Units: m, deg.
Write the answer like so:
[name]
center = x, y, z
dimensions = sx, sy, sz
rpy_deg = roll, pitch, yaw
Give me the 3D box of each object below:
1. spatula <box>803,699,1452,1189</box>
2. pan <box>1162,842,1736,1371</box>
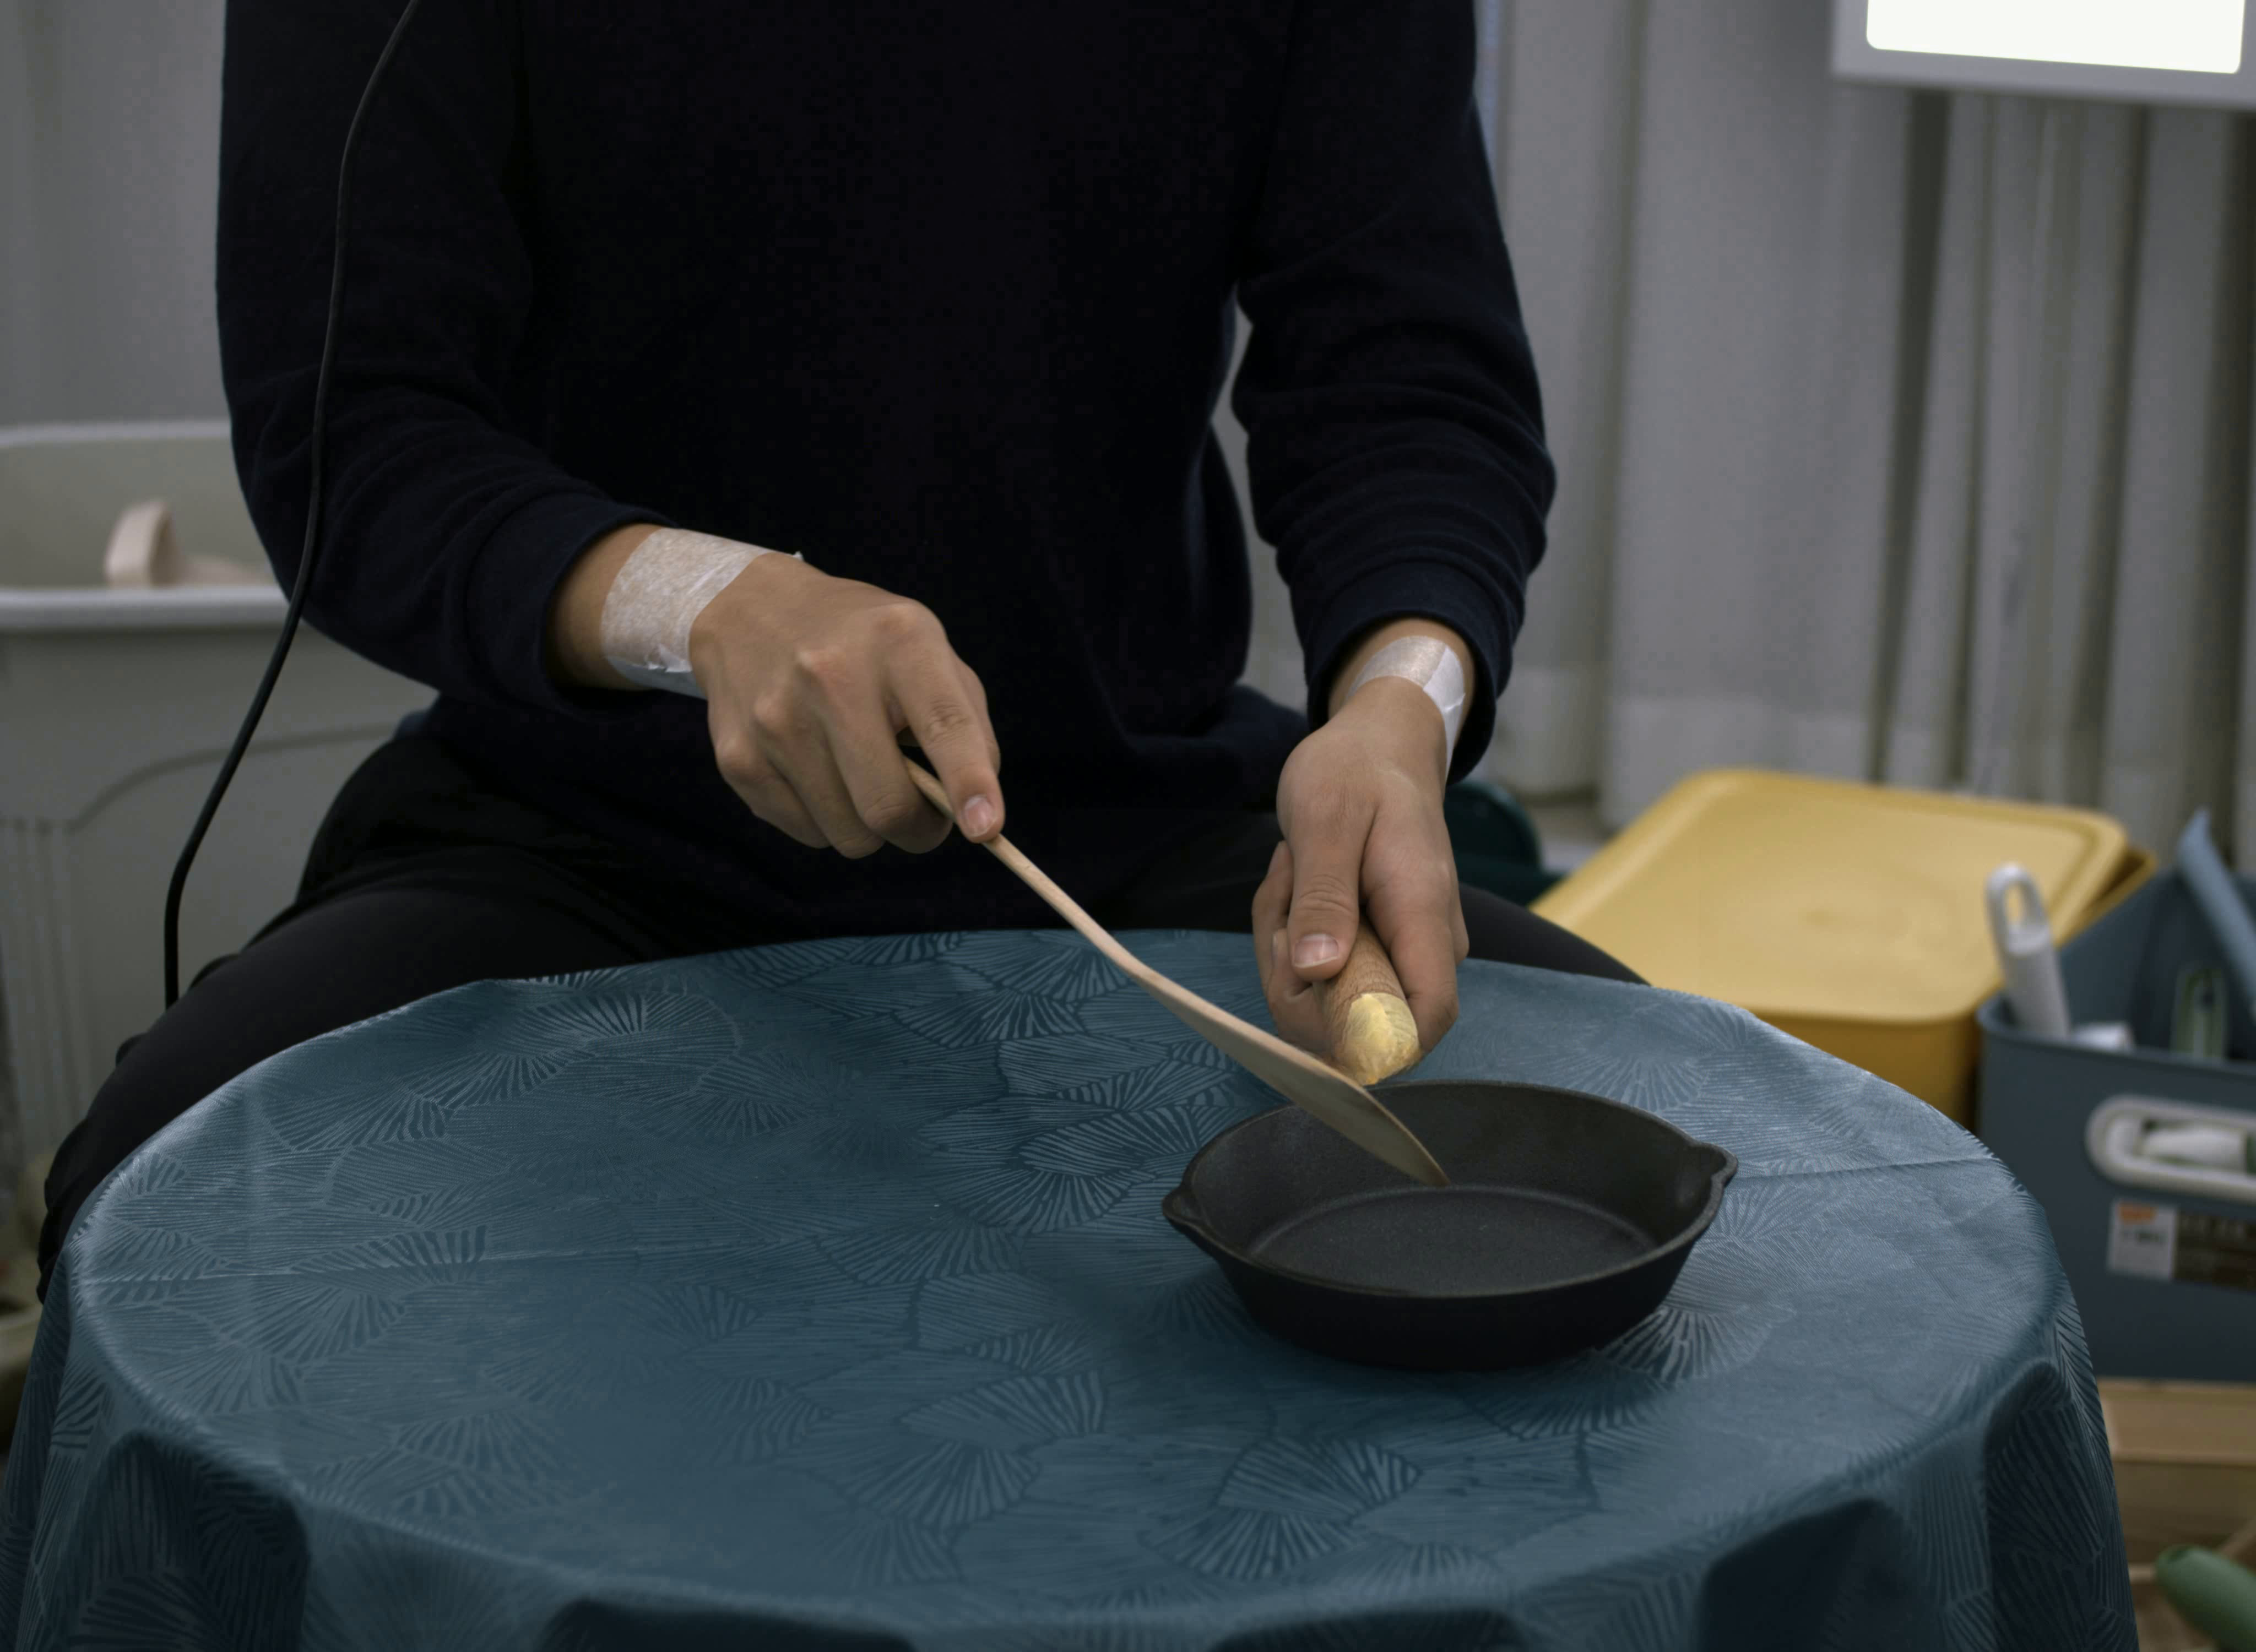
[spatula]
center = -0.010, 0.027, 1.572
dimensions = 0.323, 0.016, 0.081
rpy_deg = 37, -5, 48
[pan]
center = 0.085, 0.081, 1.606
dimensions = 0.168, 0.050, 0.321
rpy_deg = -4, 21, -5
